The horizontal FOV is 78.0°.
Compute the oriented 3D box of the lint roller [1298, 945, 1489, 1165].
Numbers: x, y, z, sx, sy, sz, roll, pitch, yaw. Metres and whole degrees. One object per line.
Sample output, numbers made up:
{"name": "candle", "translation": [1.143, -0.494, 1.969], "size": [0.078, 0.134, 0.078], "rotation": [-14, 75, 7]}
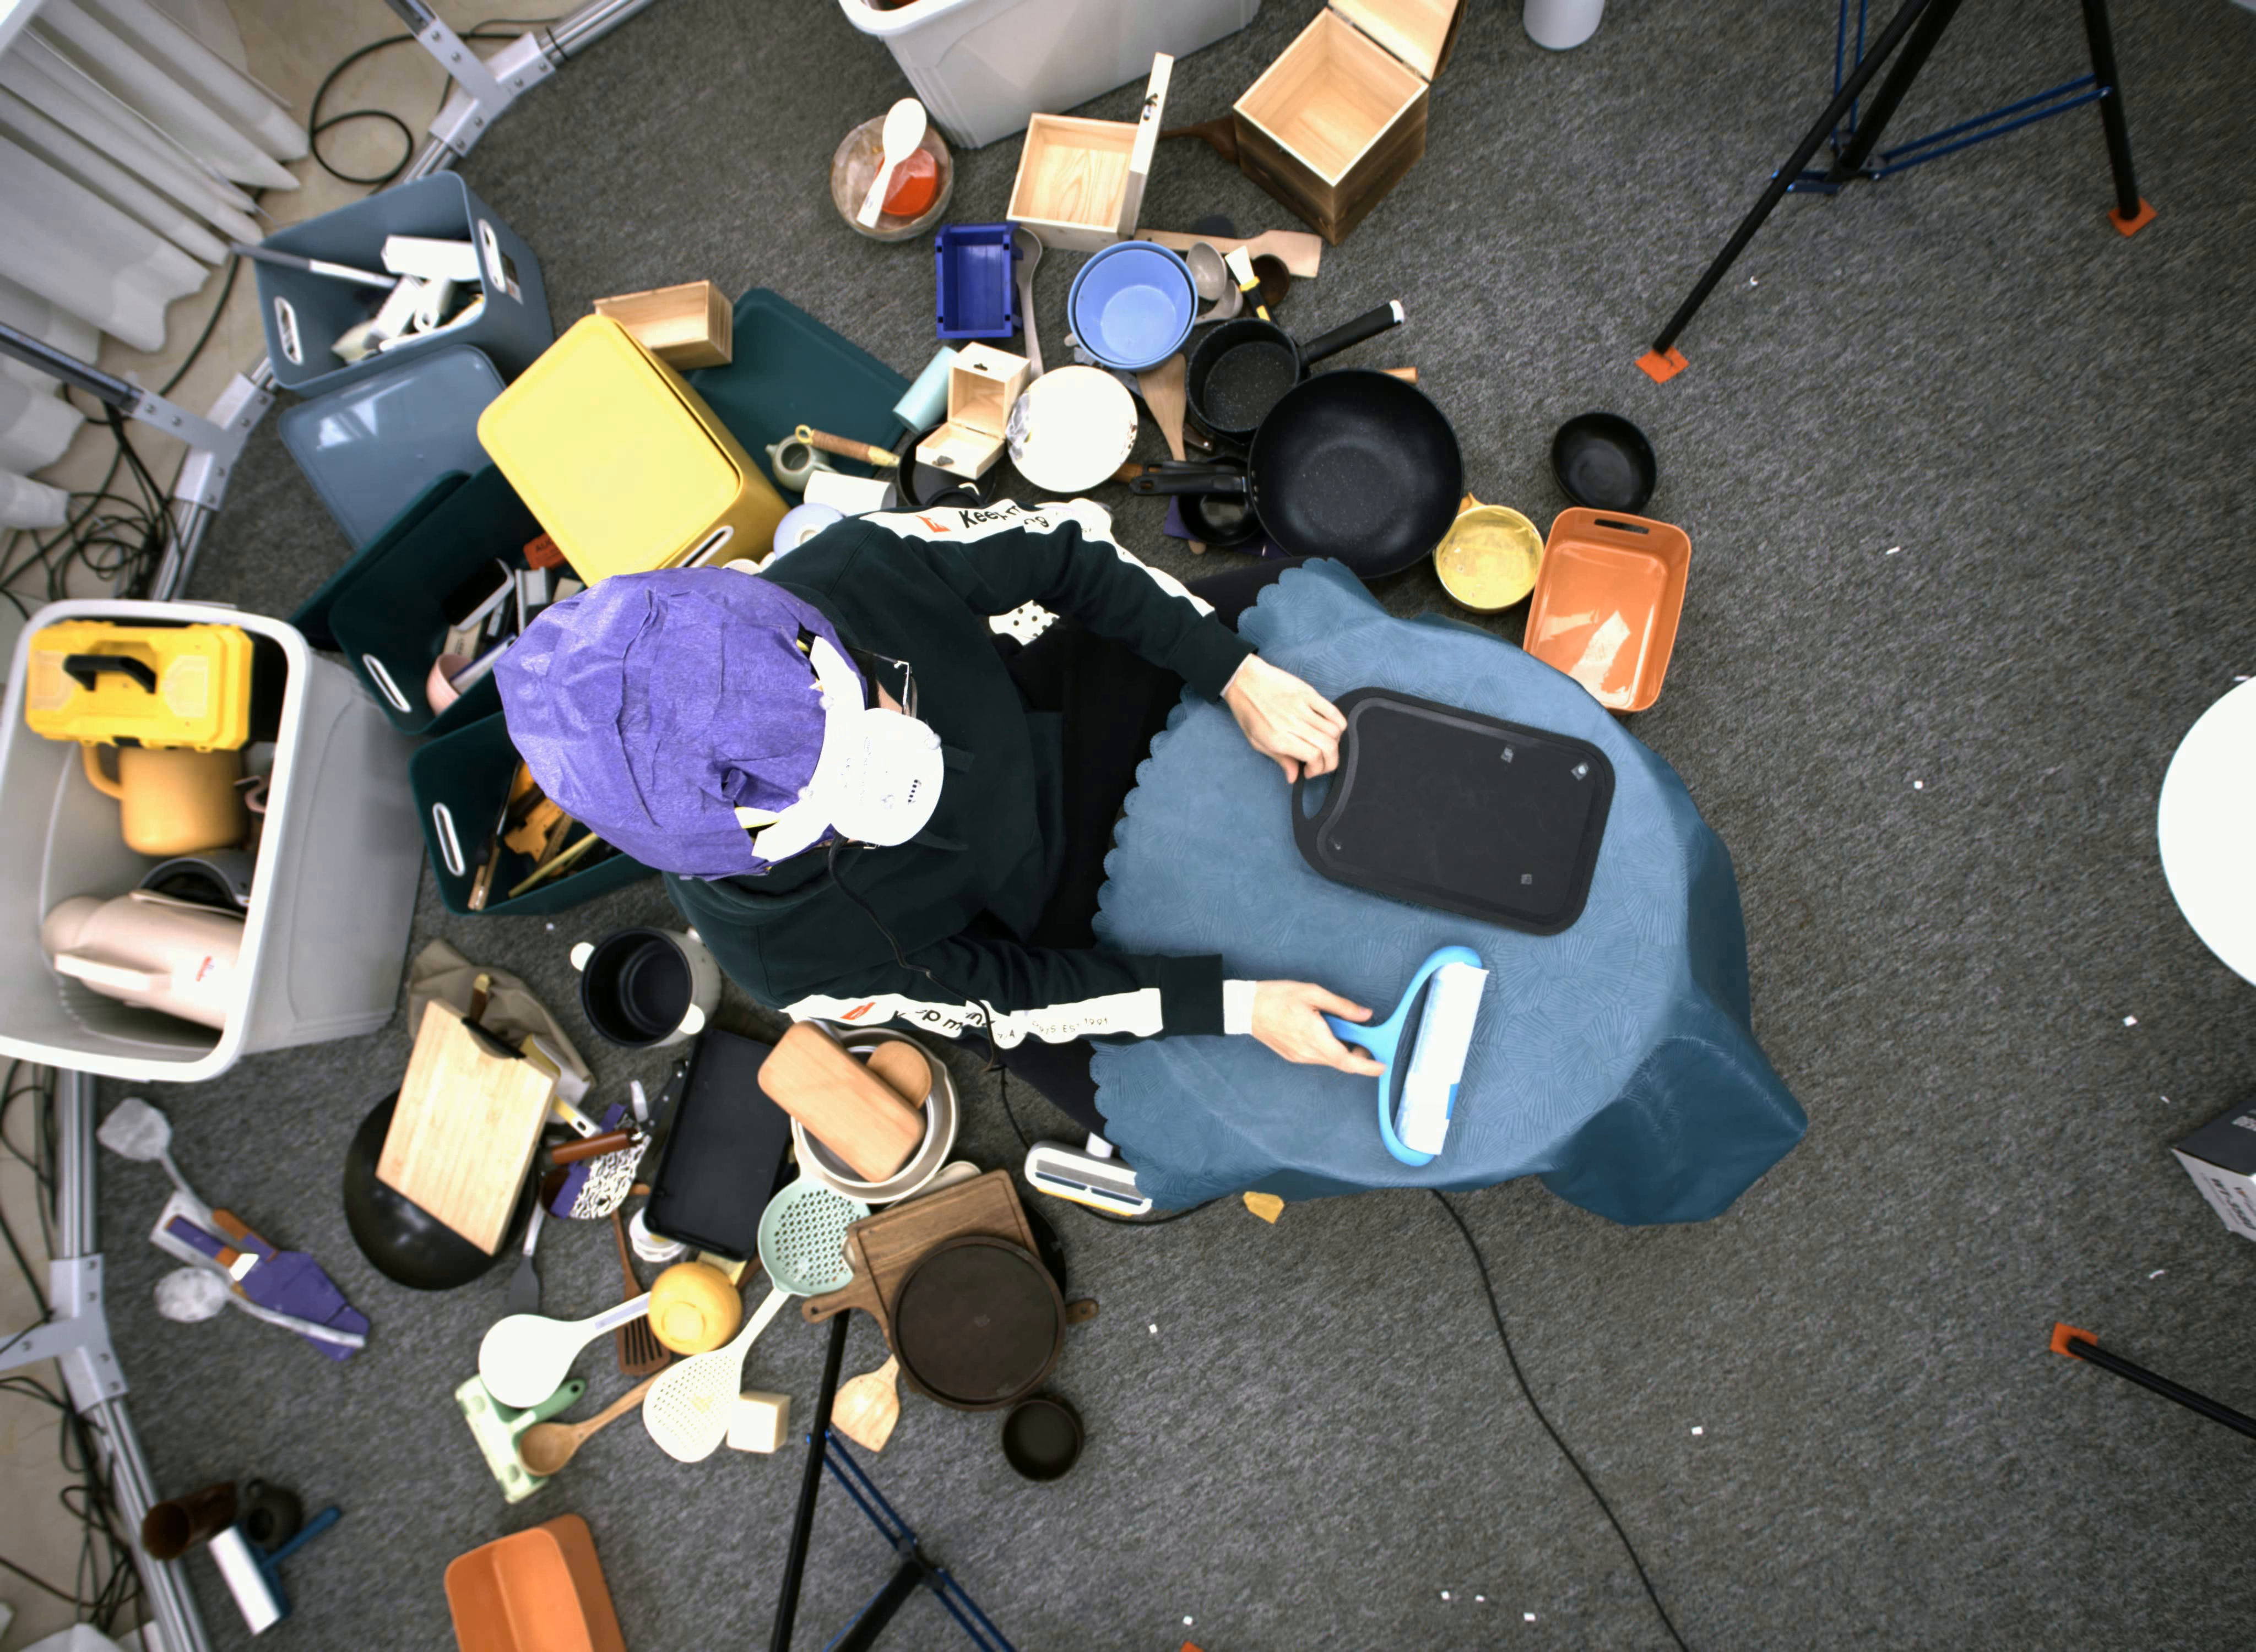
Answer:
{"name": "lint roller", "translation": [0.262, 0.220, 1.420], "size": [0.180, 0.068, 0.229], "rotation": [12, 91, 9]}

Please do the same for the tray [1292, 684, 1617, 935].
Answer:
{"name": "tray", "translation": [0.333, -0.022, 1.428], "size": [0.326, 0.010, 0.210], "rotation": [16, 89, 5]}
